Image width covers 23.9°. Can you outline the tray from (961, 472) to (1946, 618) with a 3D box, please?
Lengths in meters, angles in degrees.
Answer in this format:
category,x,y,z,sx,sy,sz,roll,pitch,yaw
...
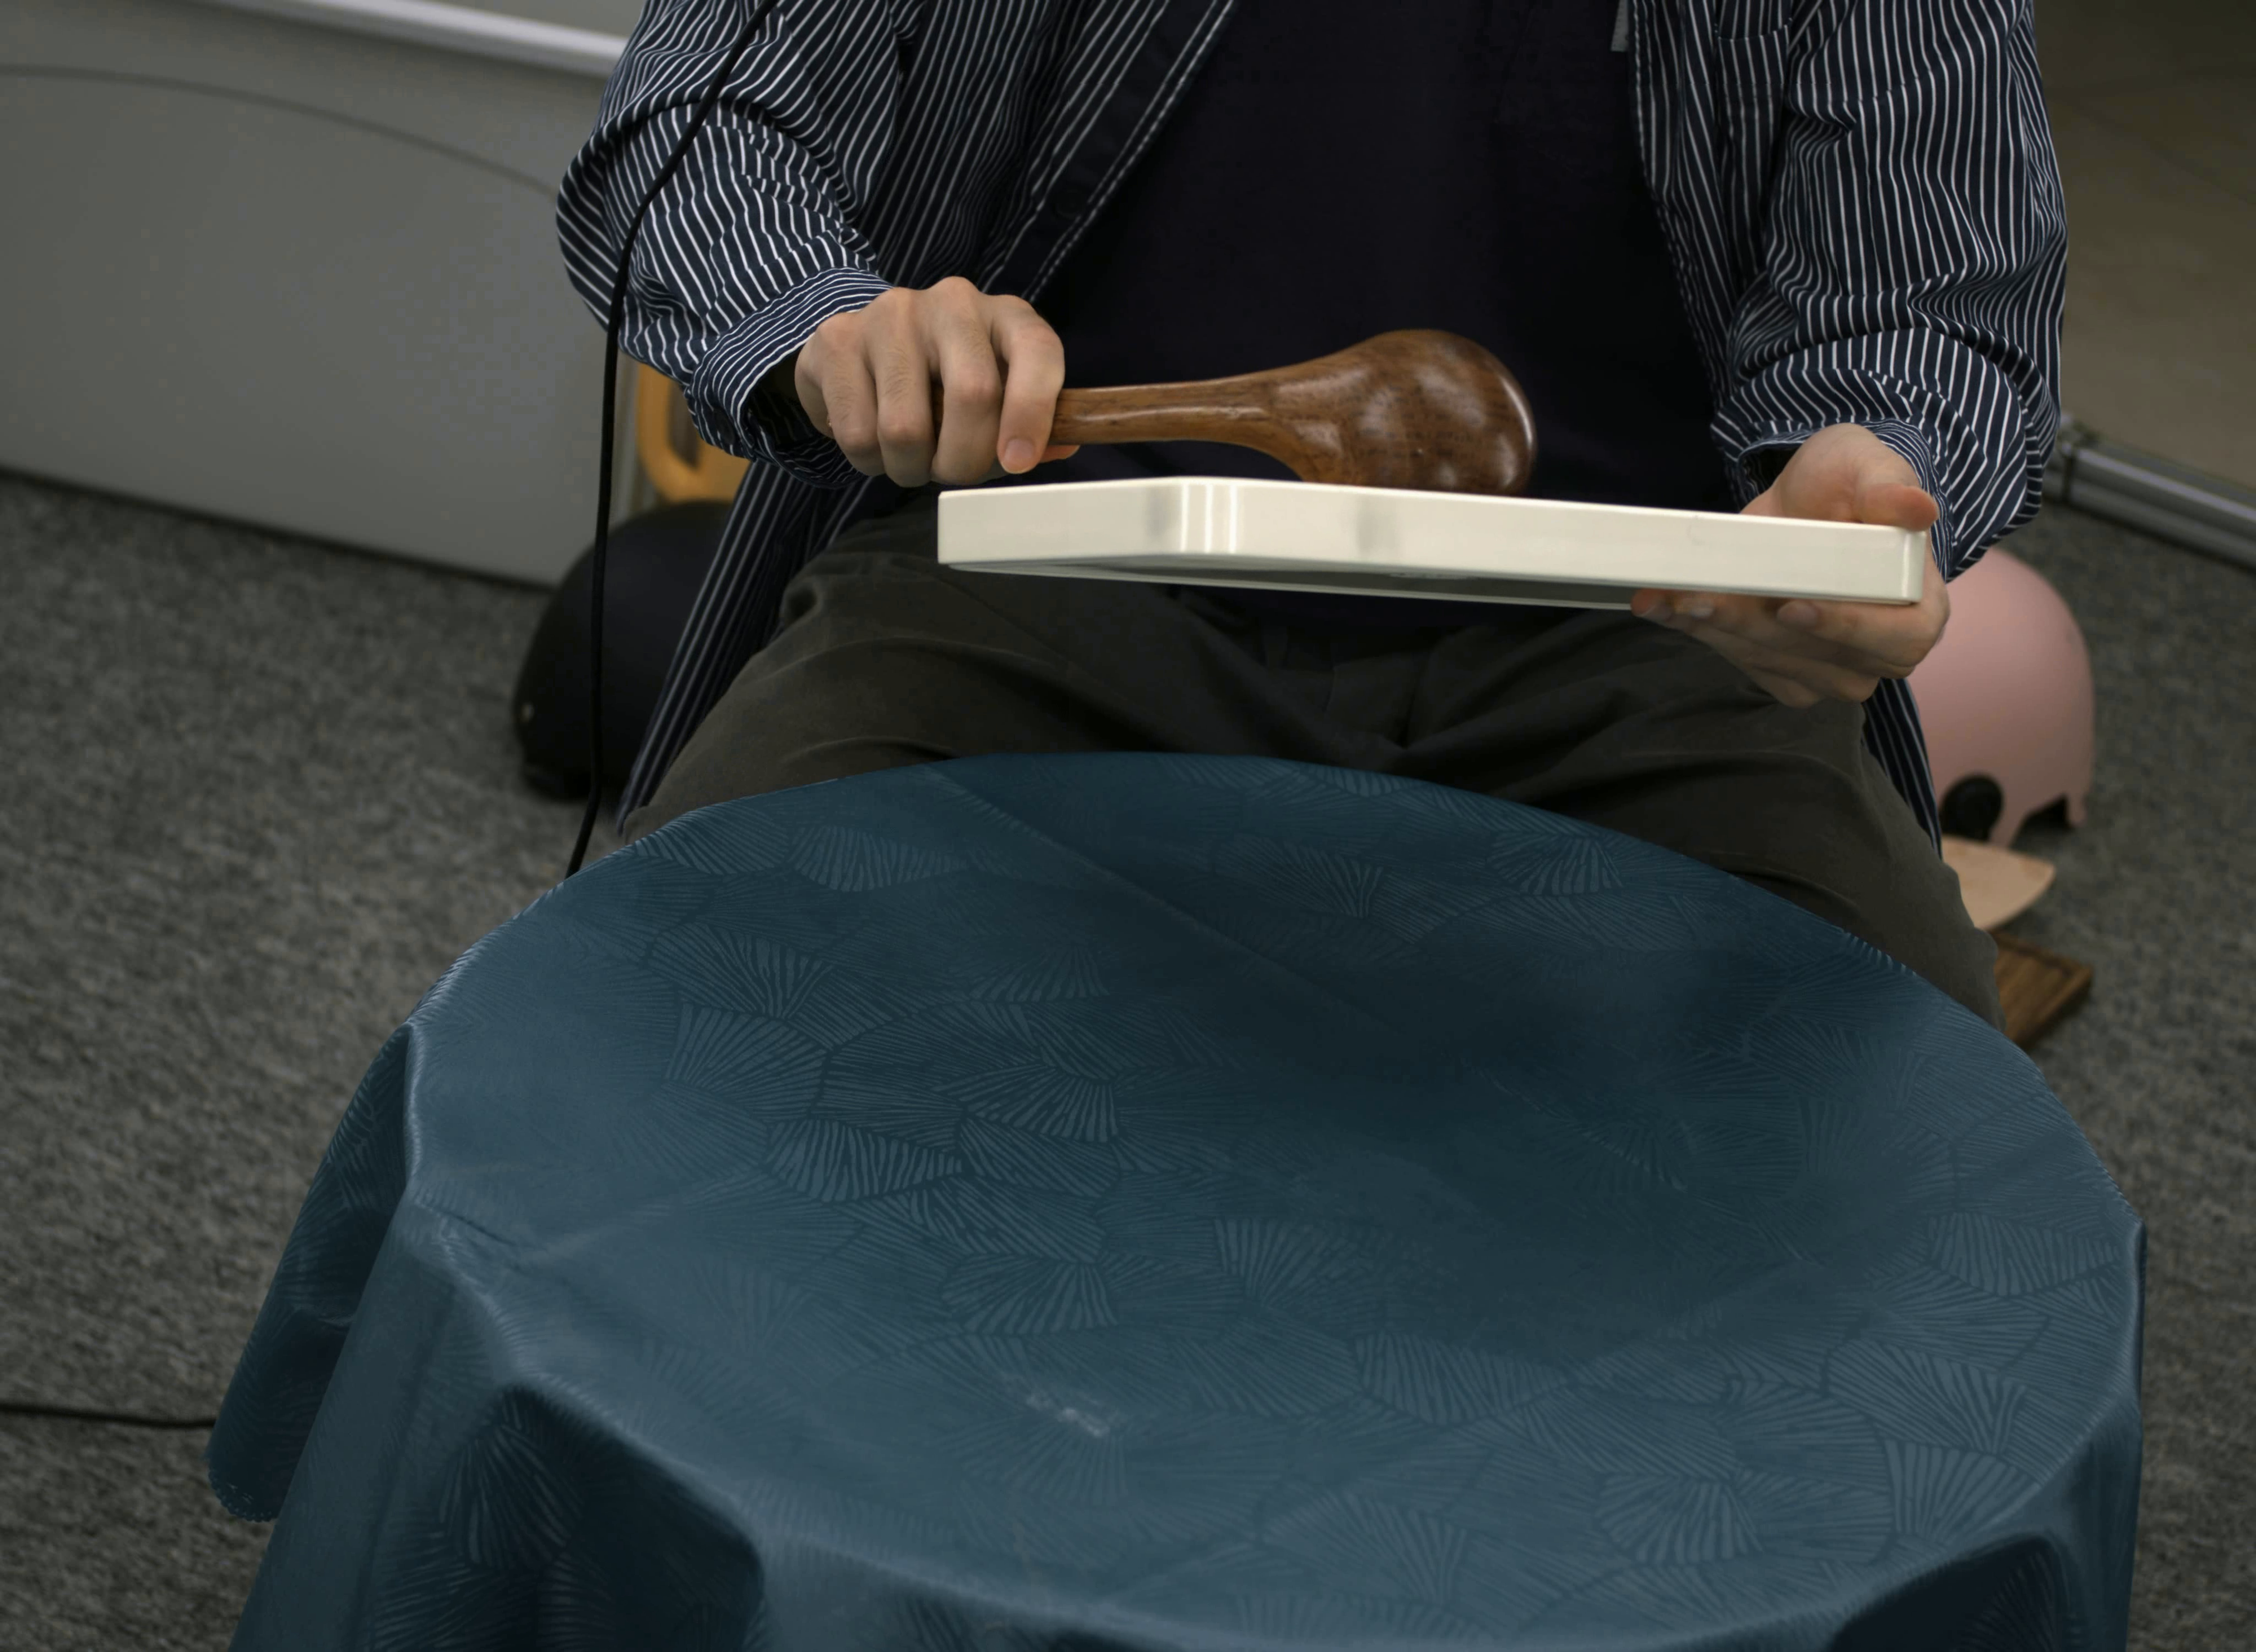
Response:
category,x,y,z,sx,sy,sz,roll,pitch,yaw
tray,0.111,-0.094,1.834,0.298,0.027,0.192,3,-1,-28

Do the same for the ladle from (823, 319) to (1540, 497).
category,x,y,z,sx,sy,sz,roll,pitch,yaw
ladle,0.018,-0.134,1.849,0.275,0.076,0.082,1,61,40
